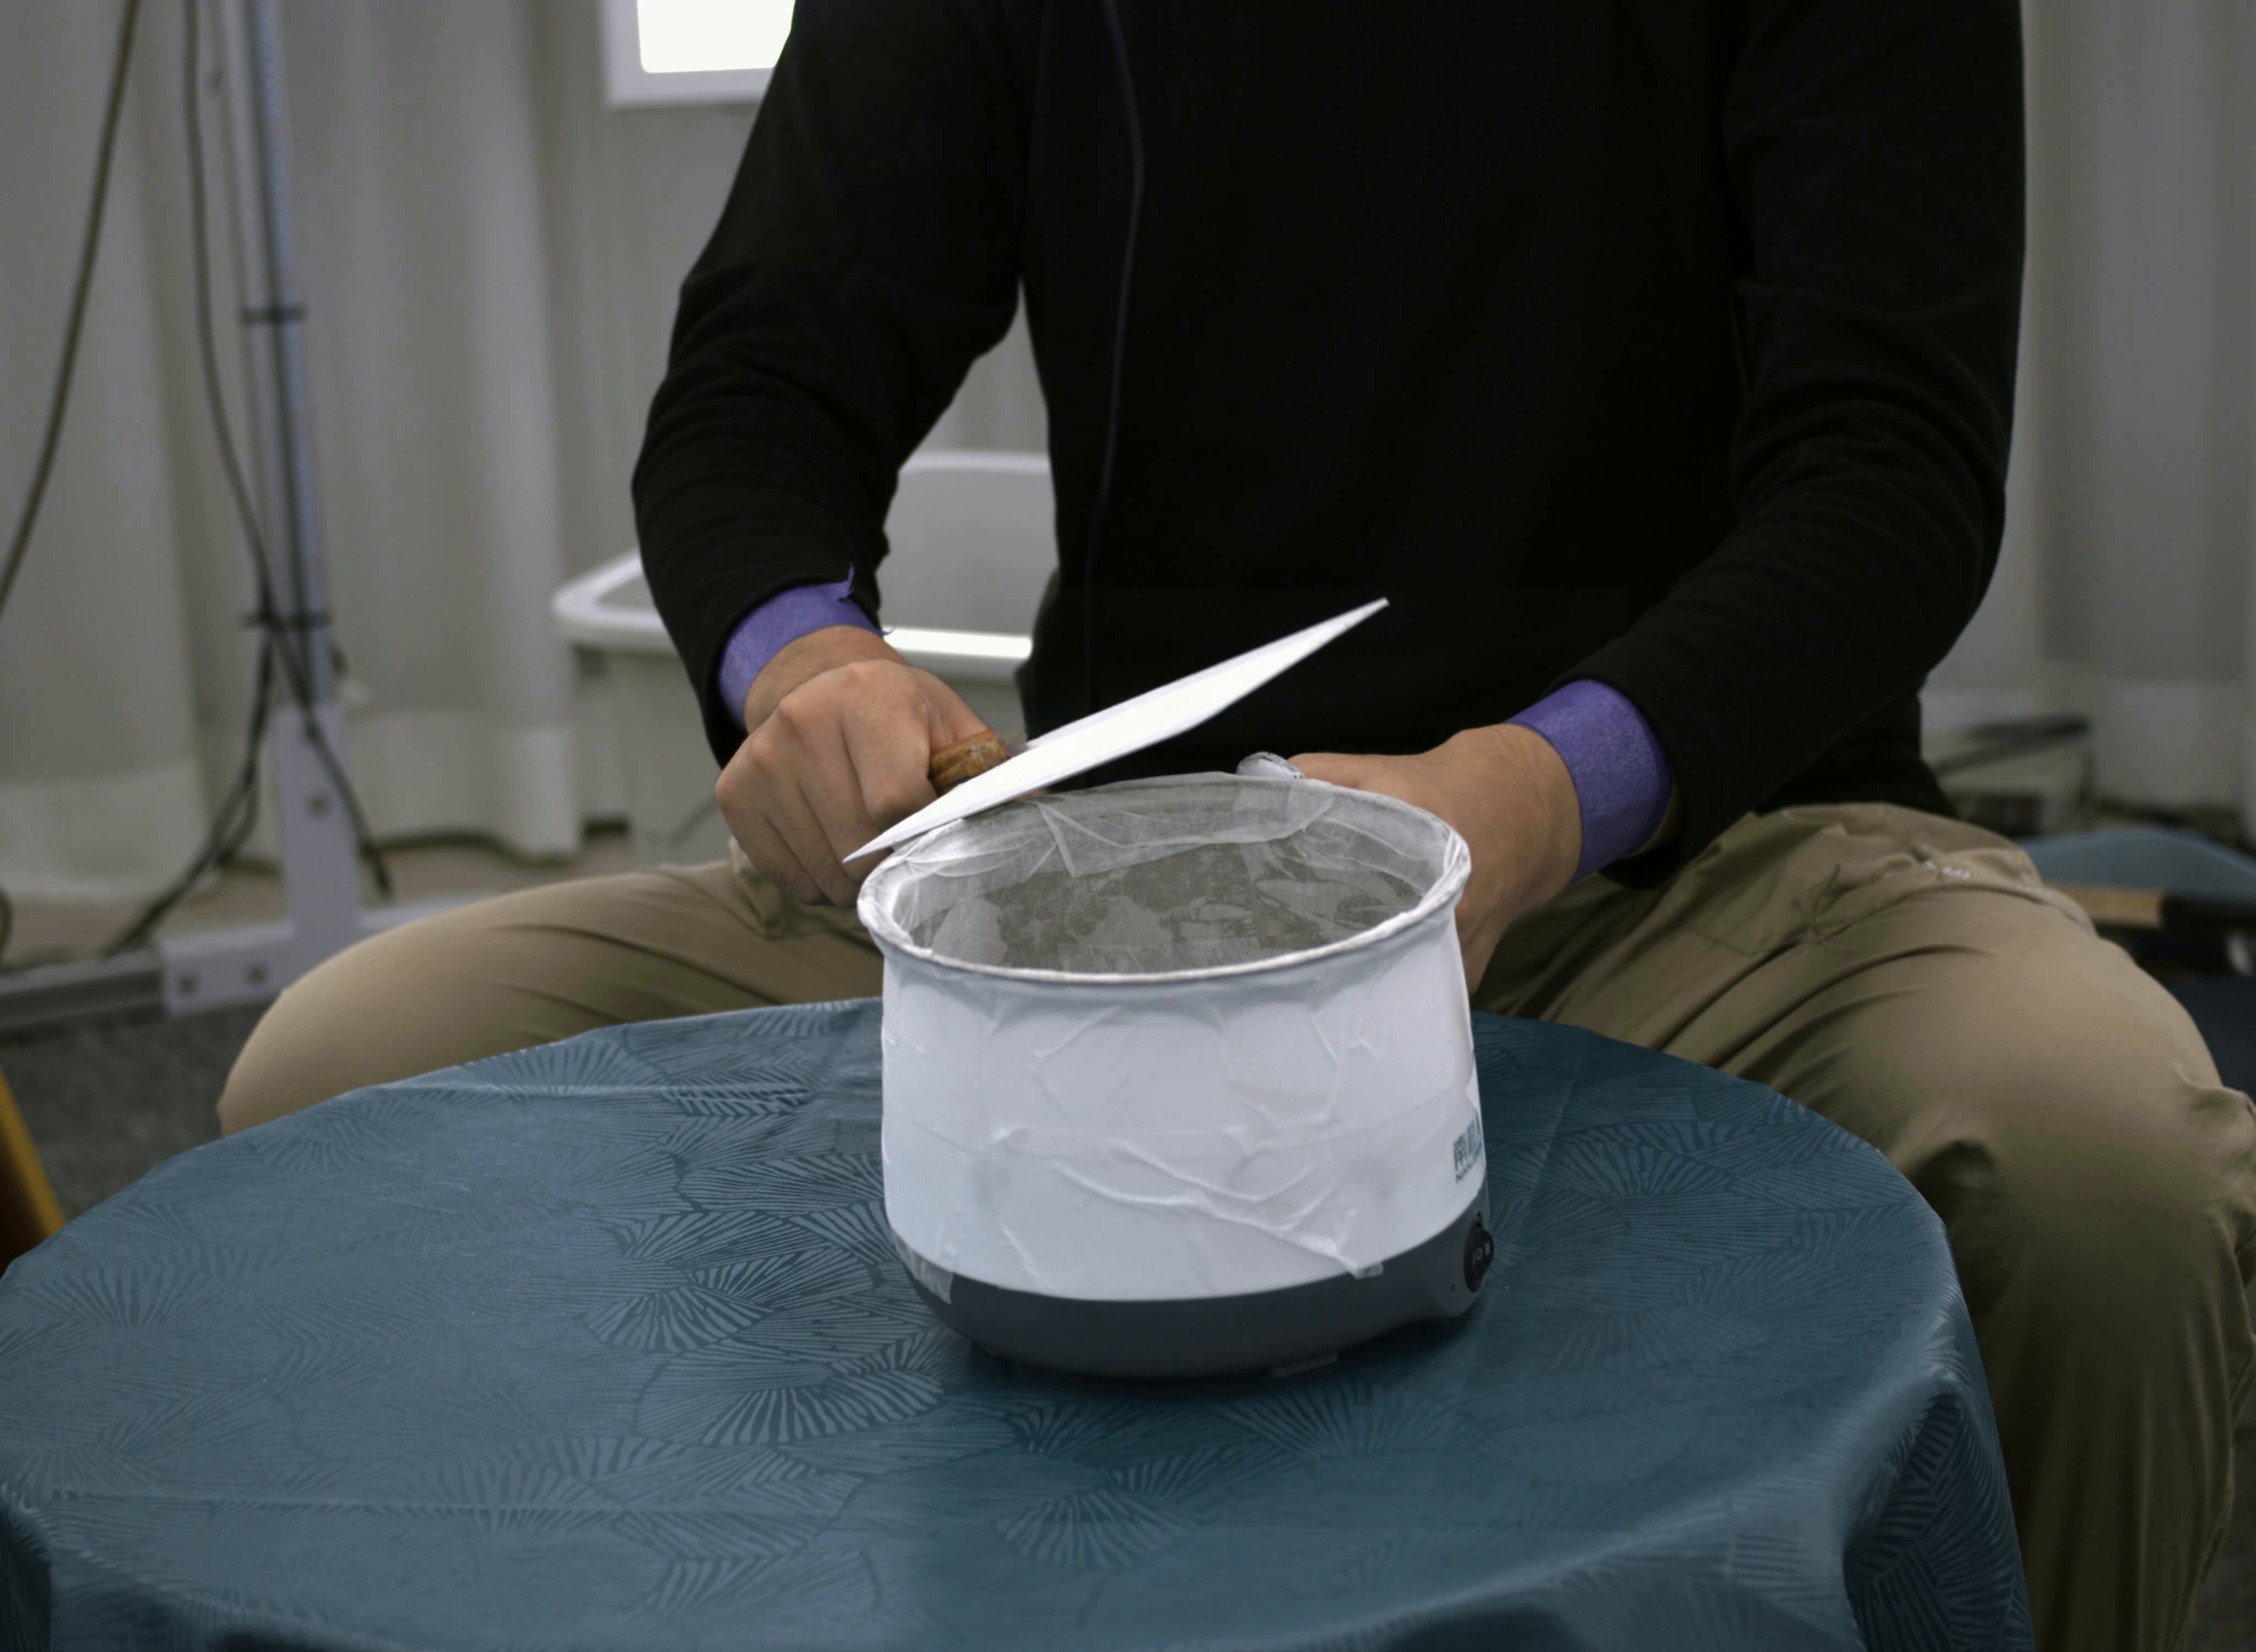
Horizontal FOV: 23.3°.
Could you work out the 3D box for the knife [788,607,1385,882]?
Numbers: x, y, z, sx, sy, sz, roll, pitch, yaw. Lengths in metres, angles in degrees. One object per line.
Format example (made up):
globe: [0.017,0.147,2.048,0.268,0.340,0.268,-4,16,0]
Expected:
knife: [-0.036,-0.015,1.694,0.093,0.021,0.305,-31,6,-36]

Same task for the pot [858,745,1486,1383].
pot: [0.022,0.064,1.615,0.178,0.136,0.235,2,20,17]
